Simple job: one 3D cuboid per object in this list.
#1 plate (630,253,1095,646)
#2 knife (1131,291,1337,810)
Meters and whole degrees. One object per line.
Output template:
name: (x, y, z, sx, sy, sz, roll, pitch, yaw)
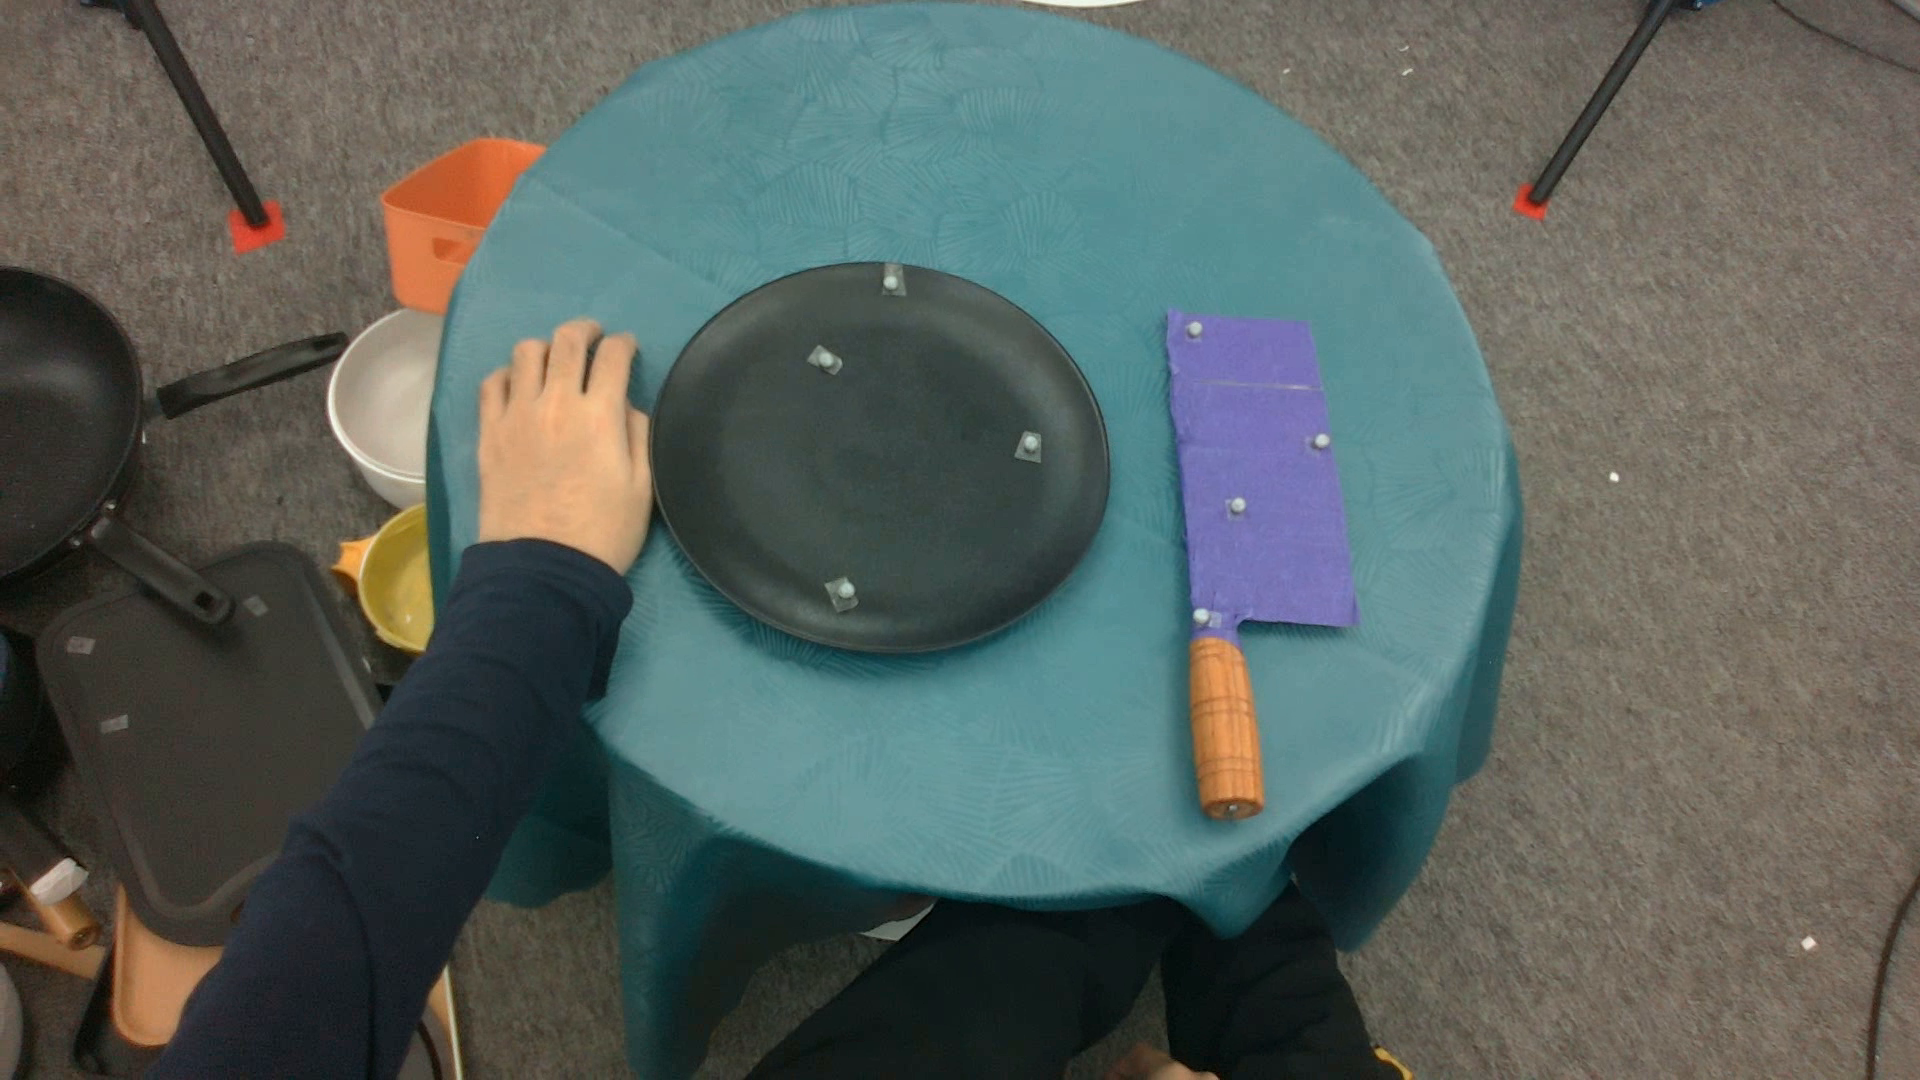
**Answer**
plate: (-0.050, -0.051, 0.731, 0.244, 0.023, 0.245, 4, 61, -7)
knife: (0.153, -0.010, 0.738, 0.104, 0.032, 0.316, 3, 60, -7)
